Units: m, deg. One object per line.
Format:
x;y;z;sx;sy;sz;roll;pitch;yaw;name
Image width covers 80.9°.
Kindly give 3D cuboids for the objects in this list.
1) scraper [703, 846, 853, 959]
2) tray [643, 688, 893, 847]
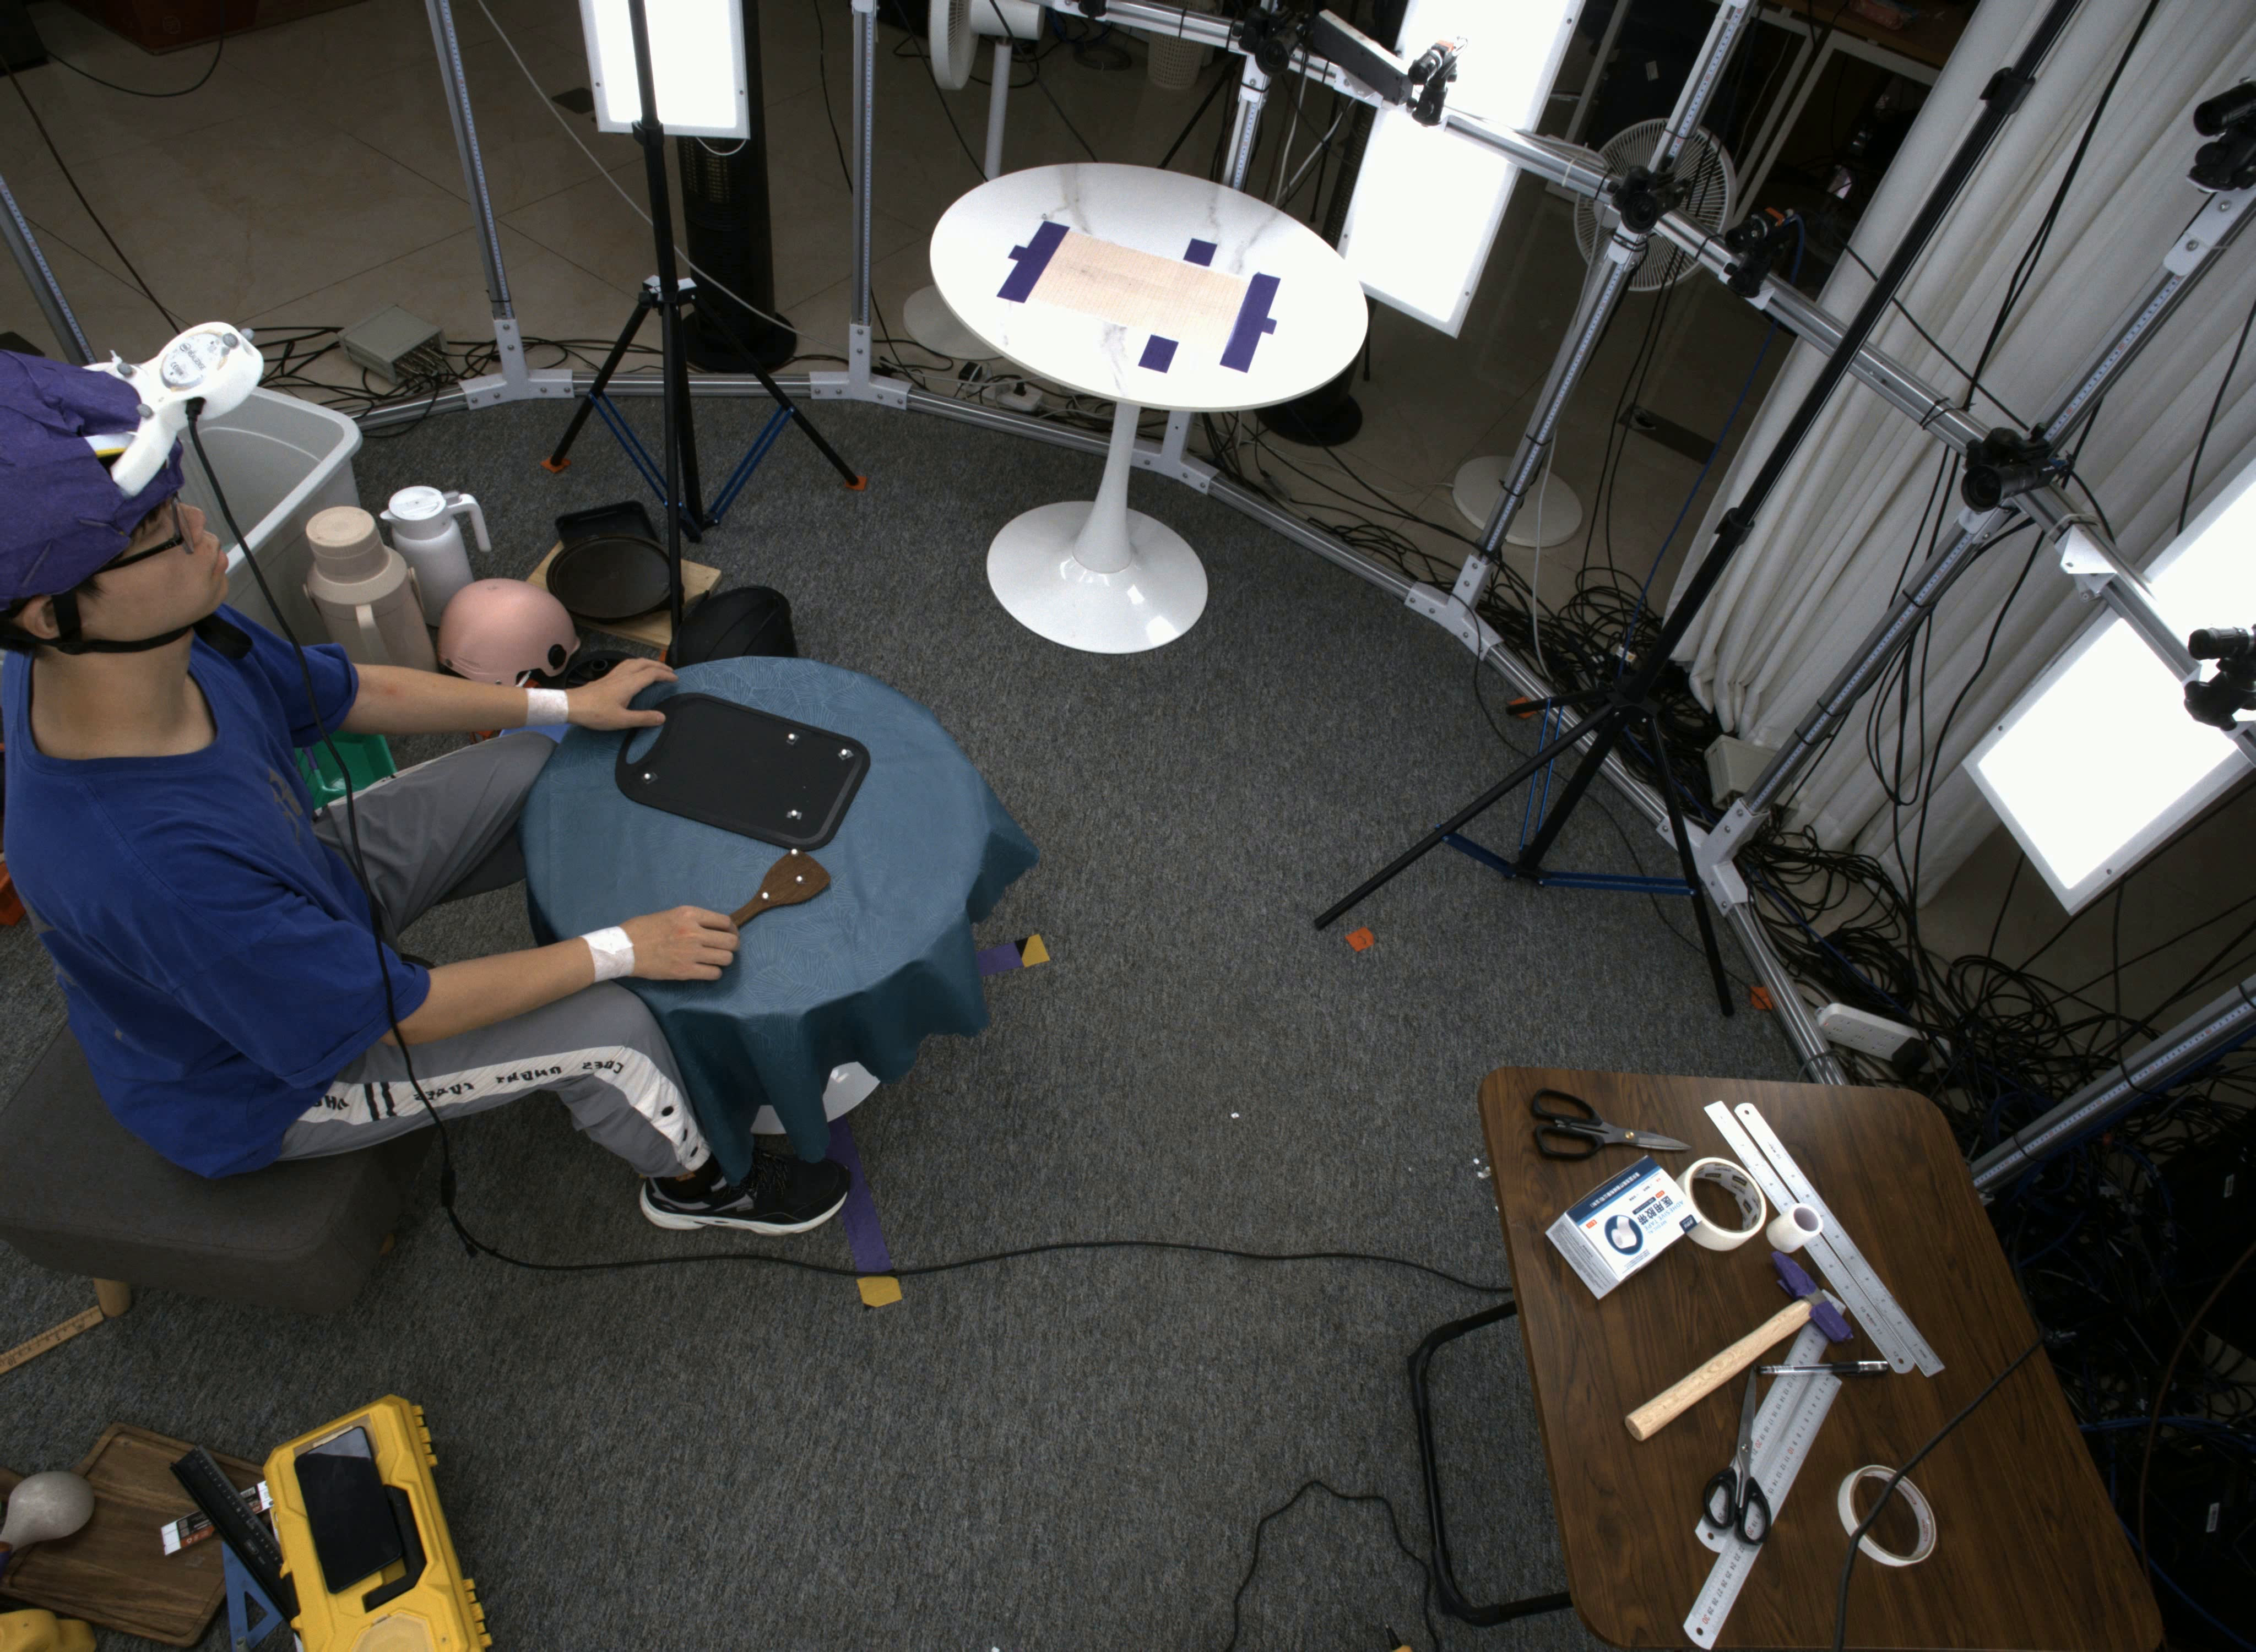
-0.449;0.100;1.648;0.074;0.011;0.211;41;56;17;scraper
-0.500;-0.087;1.775;0.322;0.010;0.209;18;52;0;tray
